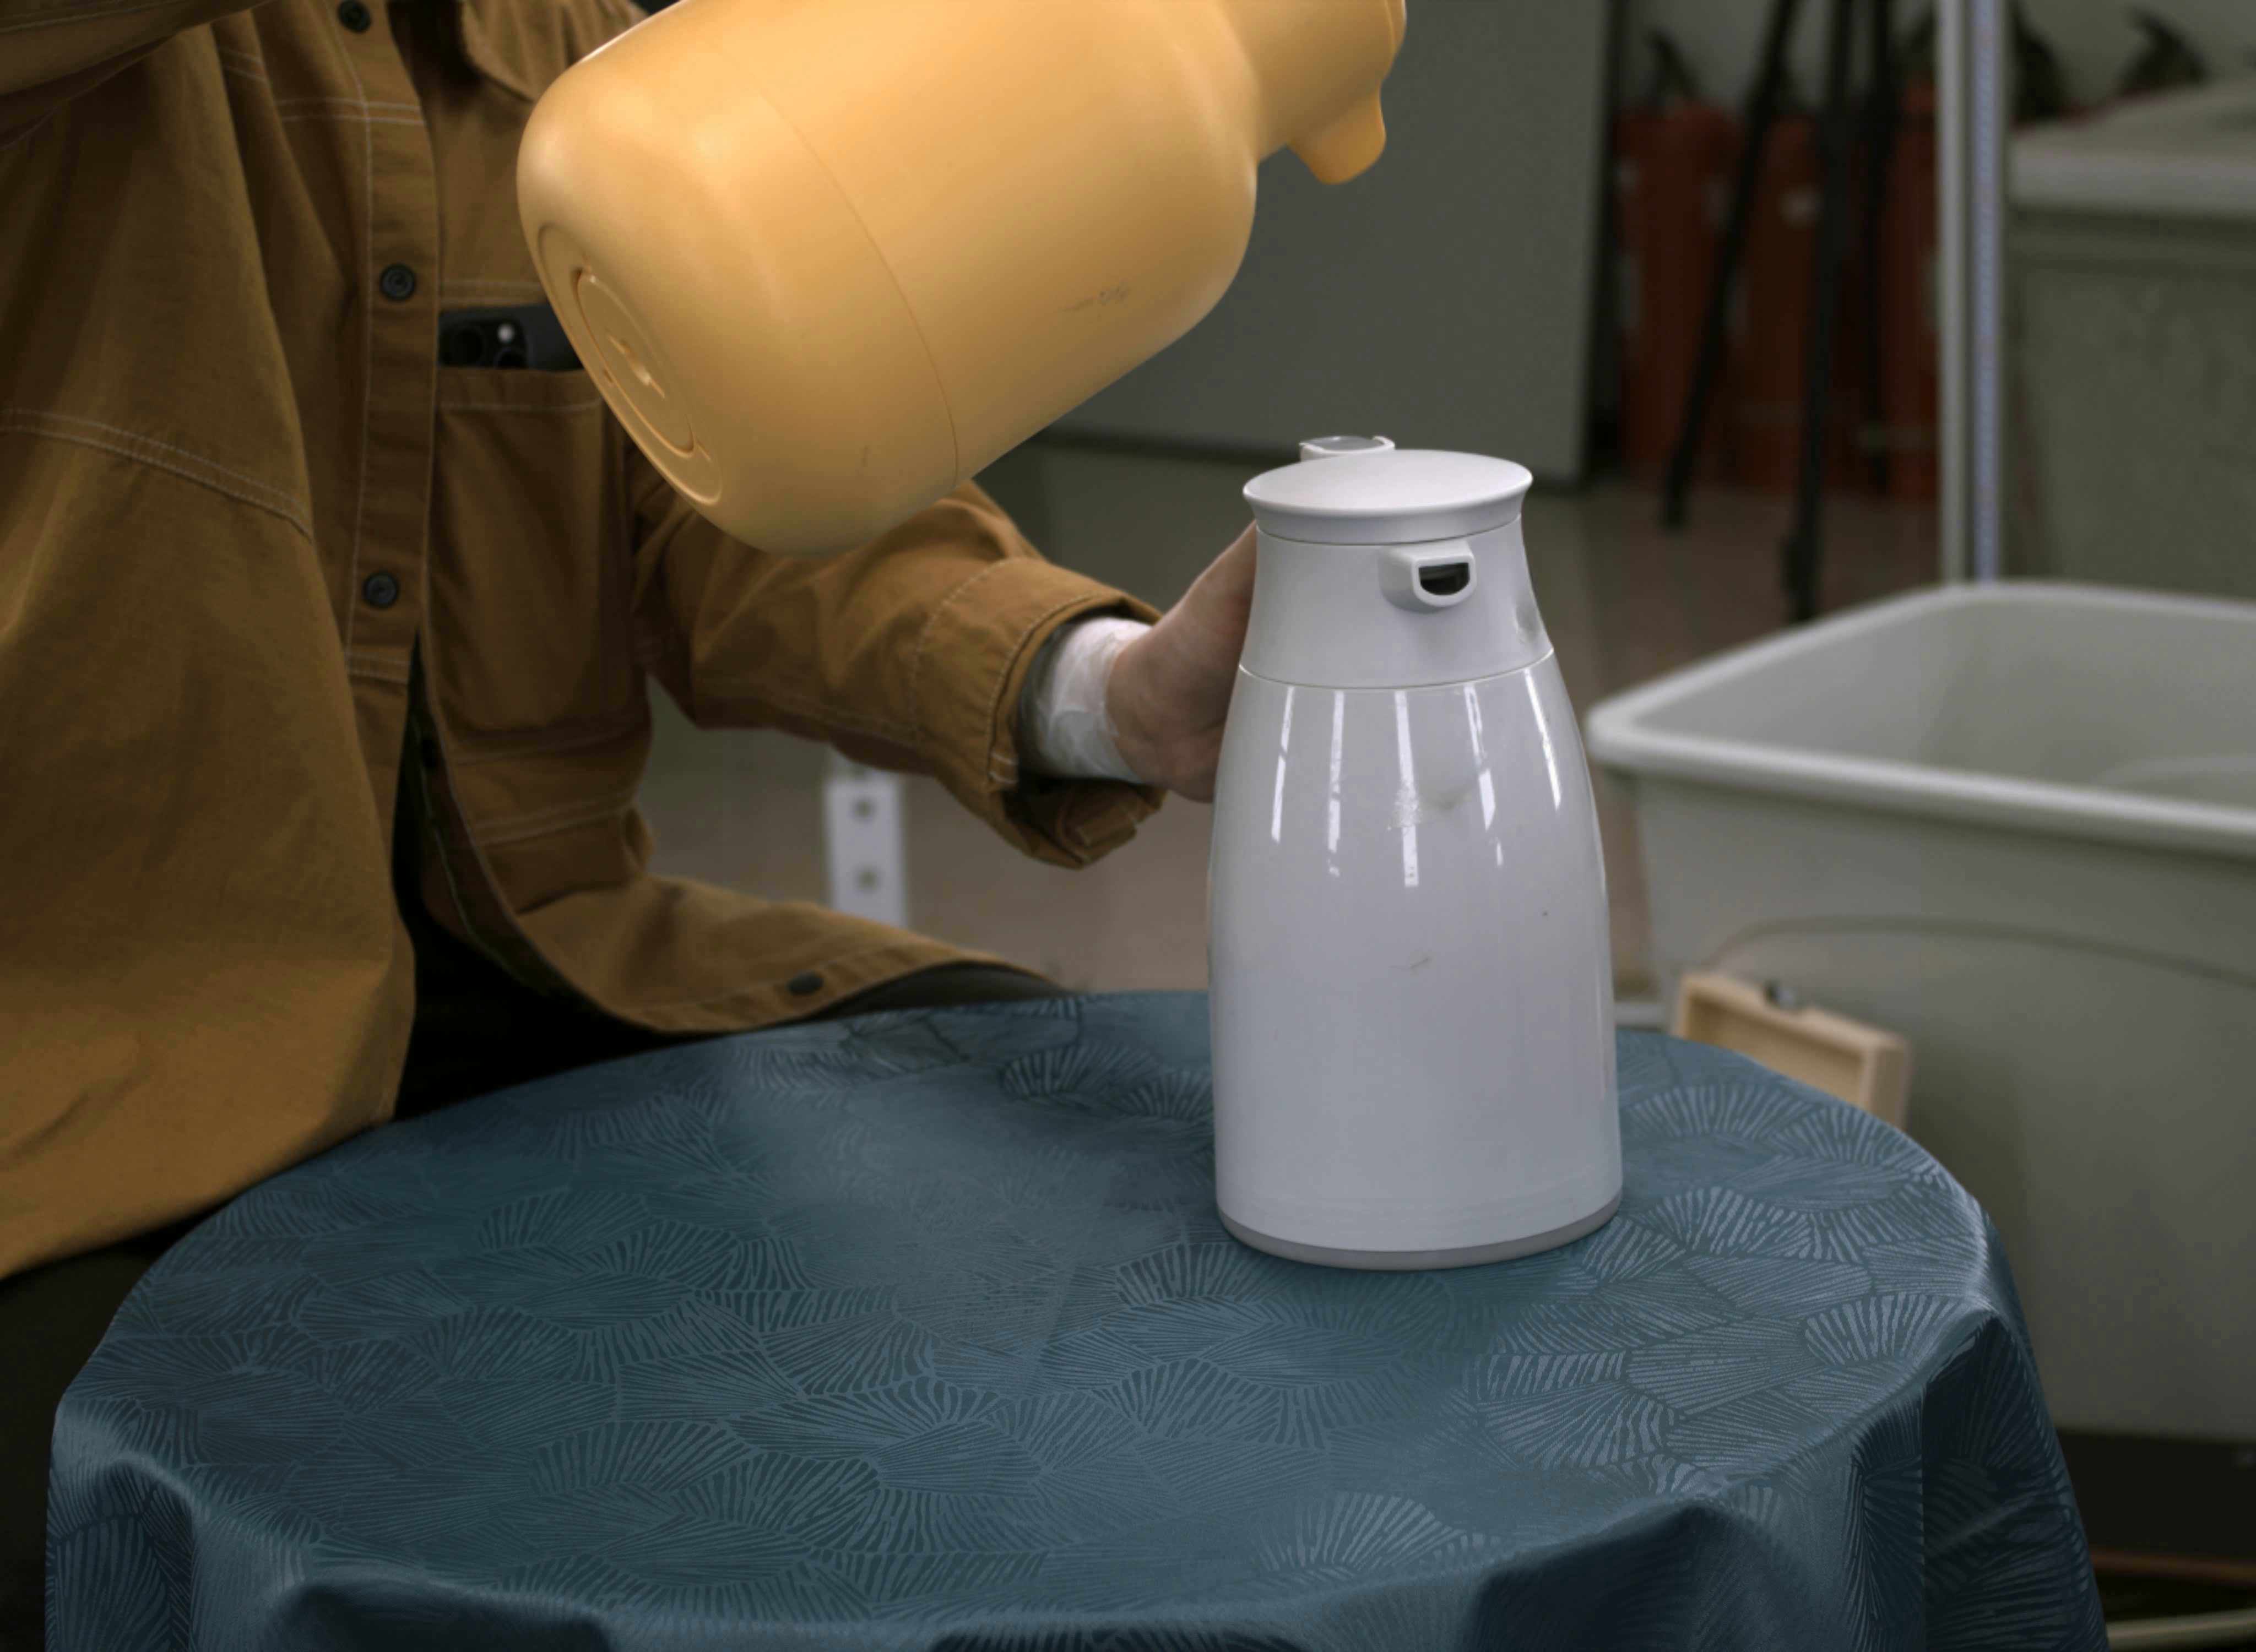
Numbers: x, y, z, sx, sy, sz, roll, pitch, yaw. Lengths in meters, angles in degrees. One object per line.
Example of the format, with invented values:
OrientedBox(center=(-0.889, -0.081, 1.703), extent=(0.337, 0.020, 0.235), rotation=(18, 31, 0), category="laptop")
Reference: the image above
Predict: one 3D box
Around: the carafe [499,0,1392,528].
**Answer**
OrientedBox(center=(-0.053, -0.226, 1.578), extent=(0.257, 0.202, 0.165), rotation=(-32, 29, -17), category="carafe")

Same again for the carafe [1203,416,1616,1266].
OrientedBox(center=(0.081, -0.003, 1.729), extent=(0.130, 0.251, 0.169), rotation=(-7, 13, -12), category="carafe")
